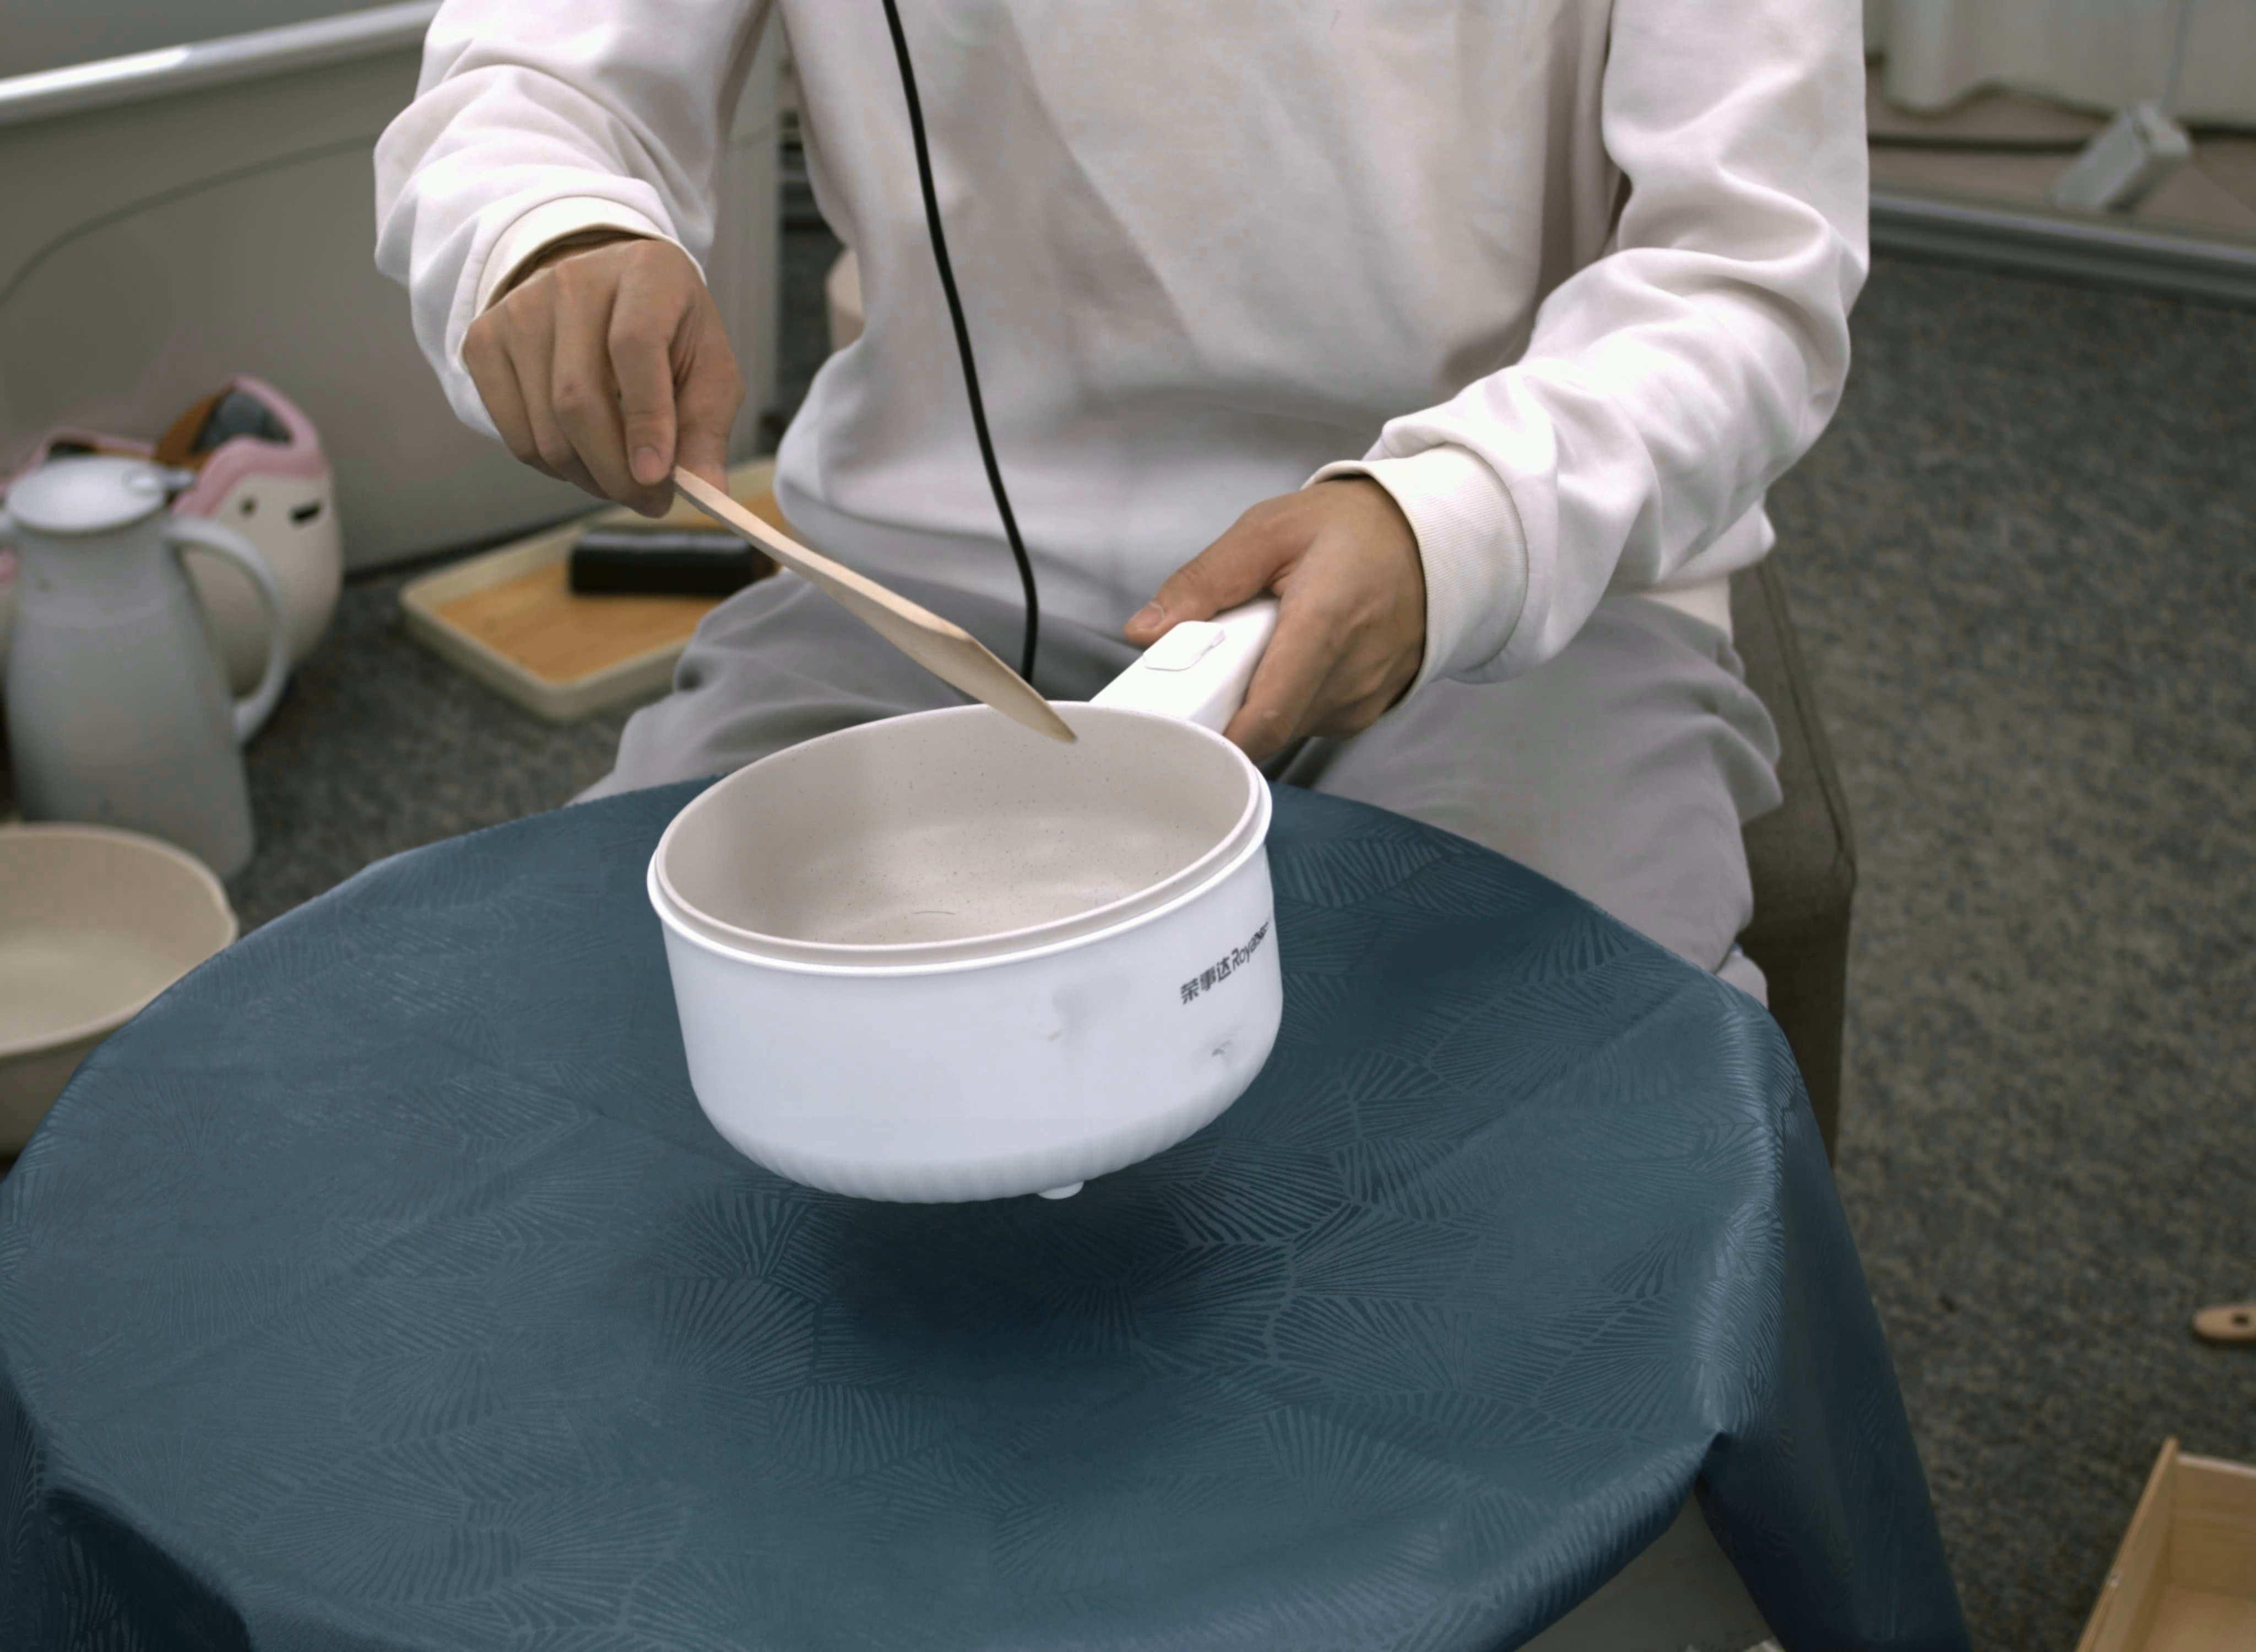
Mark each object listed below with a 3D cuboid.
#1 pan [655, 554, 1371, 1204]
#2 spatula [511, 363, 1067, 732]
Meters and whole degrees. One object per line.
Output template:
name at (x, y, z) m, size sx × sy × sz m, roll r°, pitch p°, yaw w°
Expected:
pan at (-0.011, 0.015, 1.873) m, size 0.199 × 0.101 × 0.360 m, roll 4°, pitch 24°, yaw 28°
spatula at (-0.124, -0.100, 1.869) m, size 0.011 × 0.072 × 0.294 m, roll -53°, pitch 45°, yaw -4°
